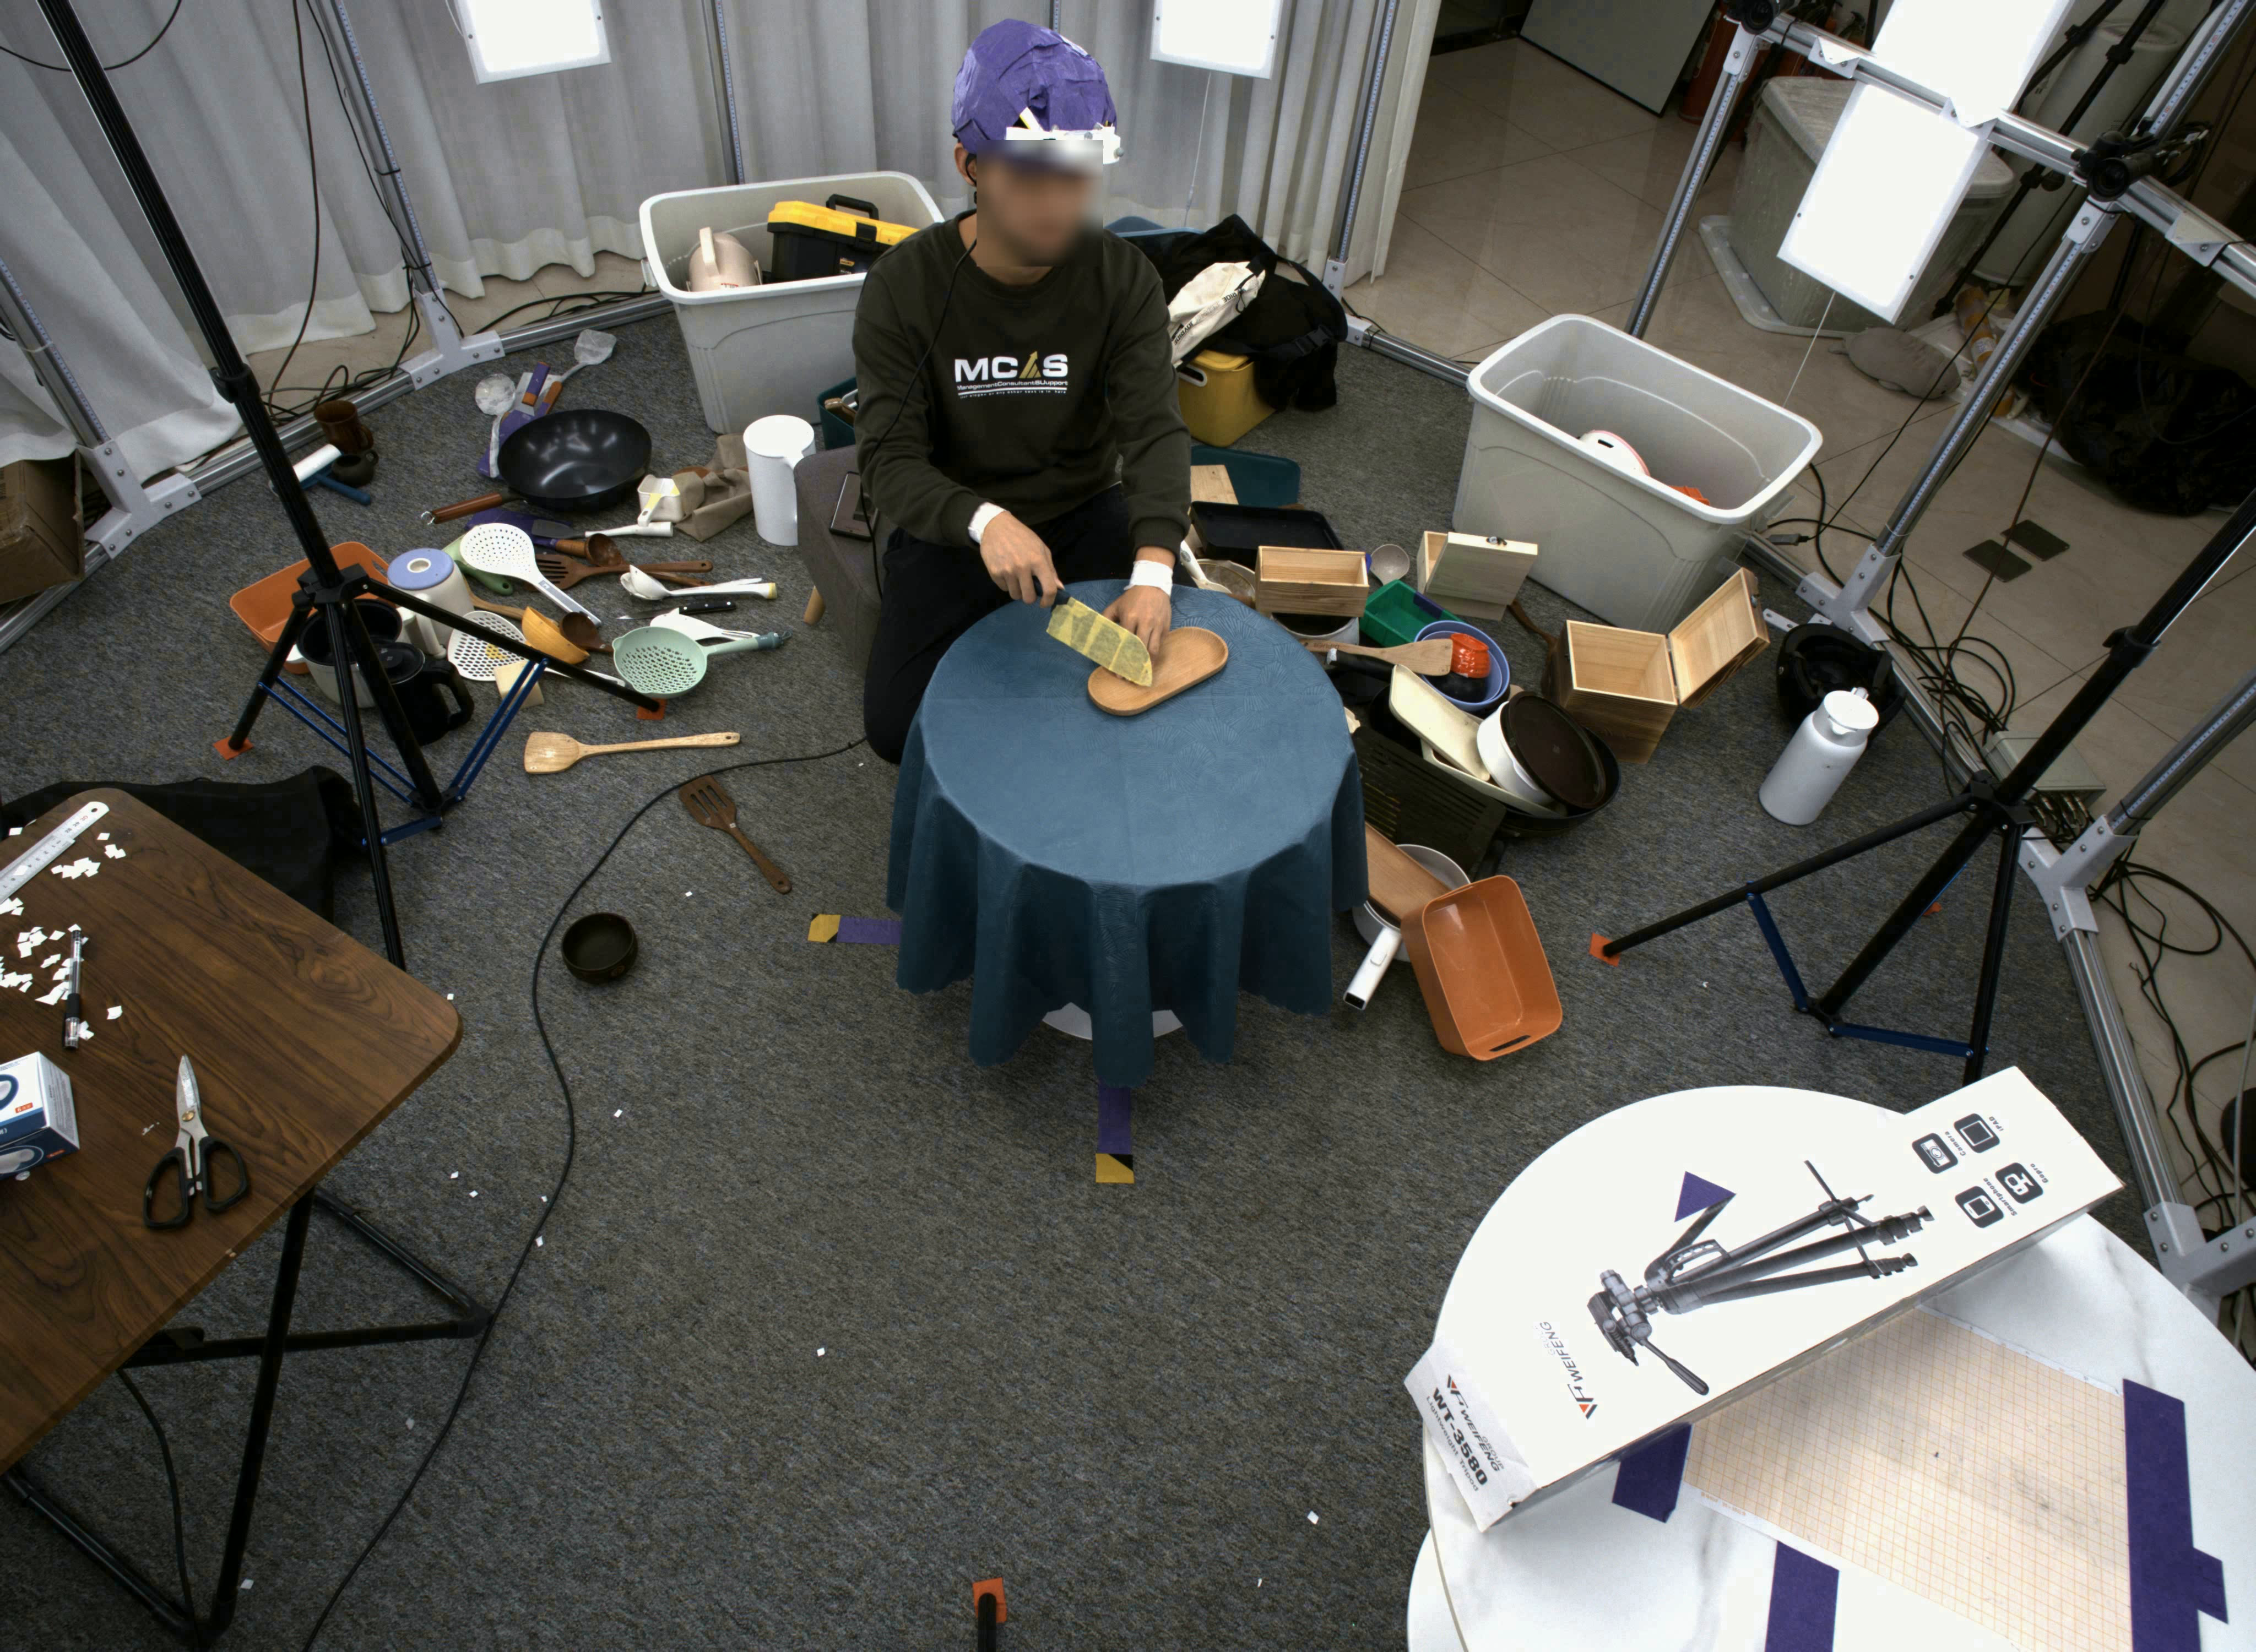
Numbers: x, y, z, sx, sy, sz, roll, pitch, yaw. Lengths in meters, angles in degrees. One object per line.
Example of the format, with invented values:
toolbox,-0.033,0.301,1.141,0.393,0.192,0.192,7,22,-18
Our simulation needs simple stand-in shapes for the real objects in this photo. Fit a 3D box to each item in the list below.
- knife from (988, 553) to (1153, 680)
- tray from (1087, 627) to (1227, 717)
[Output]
knife,-0.083,-0.296,1.830,0.291,0.079,0.027,35,37,8
tray,0.043,-0.223,1.854,0.232,0.020,0.103,-31,56,-25
